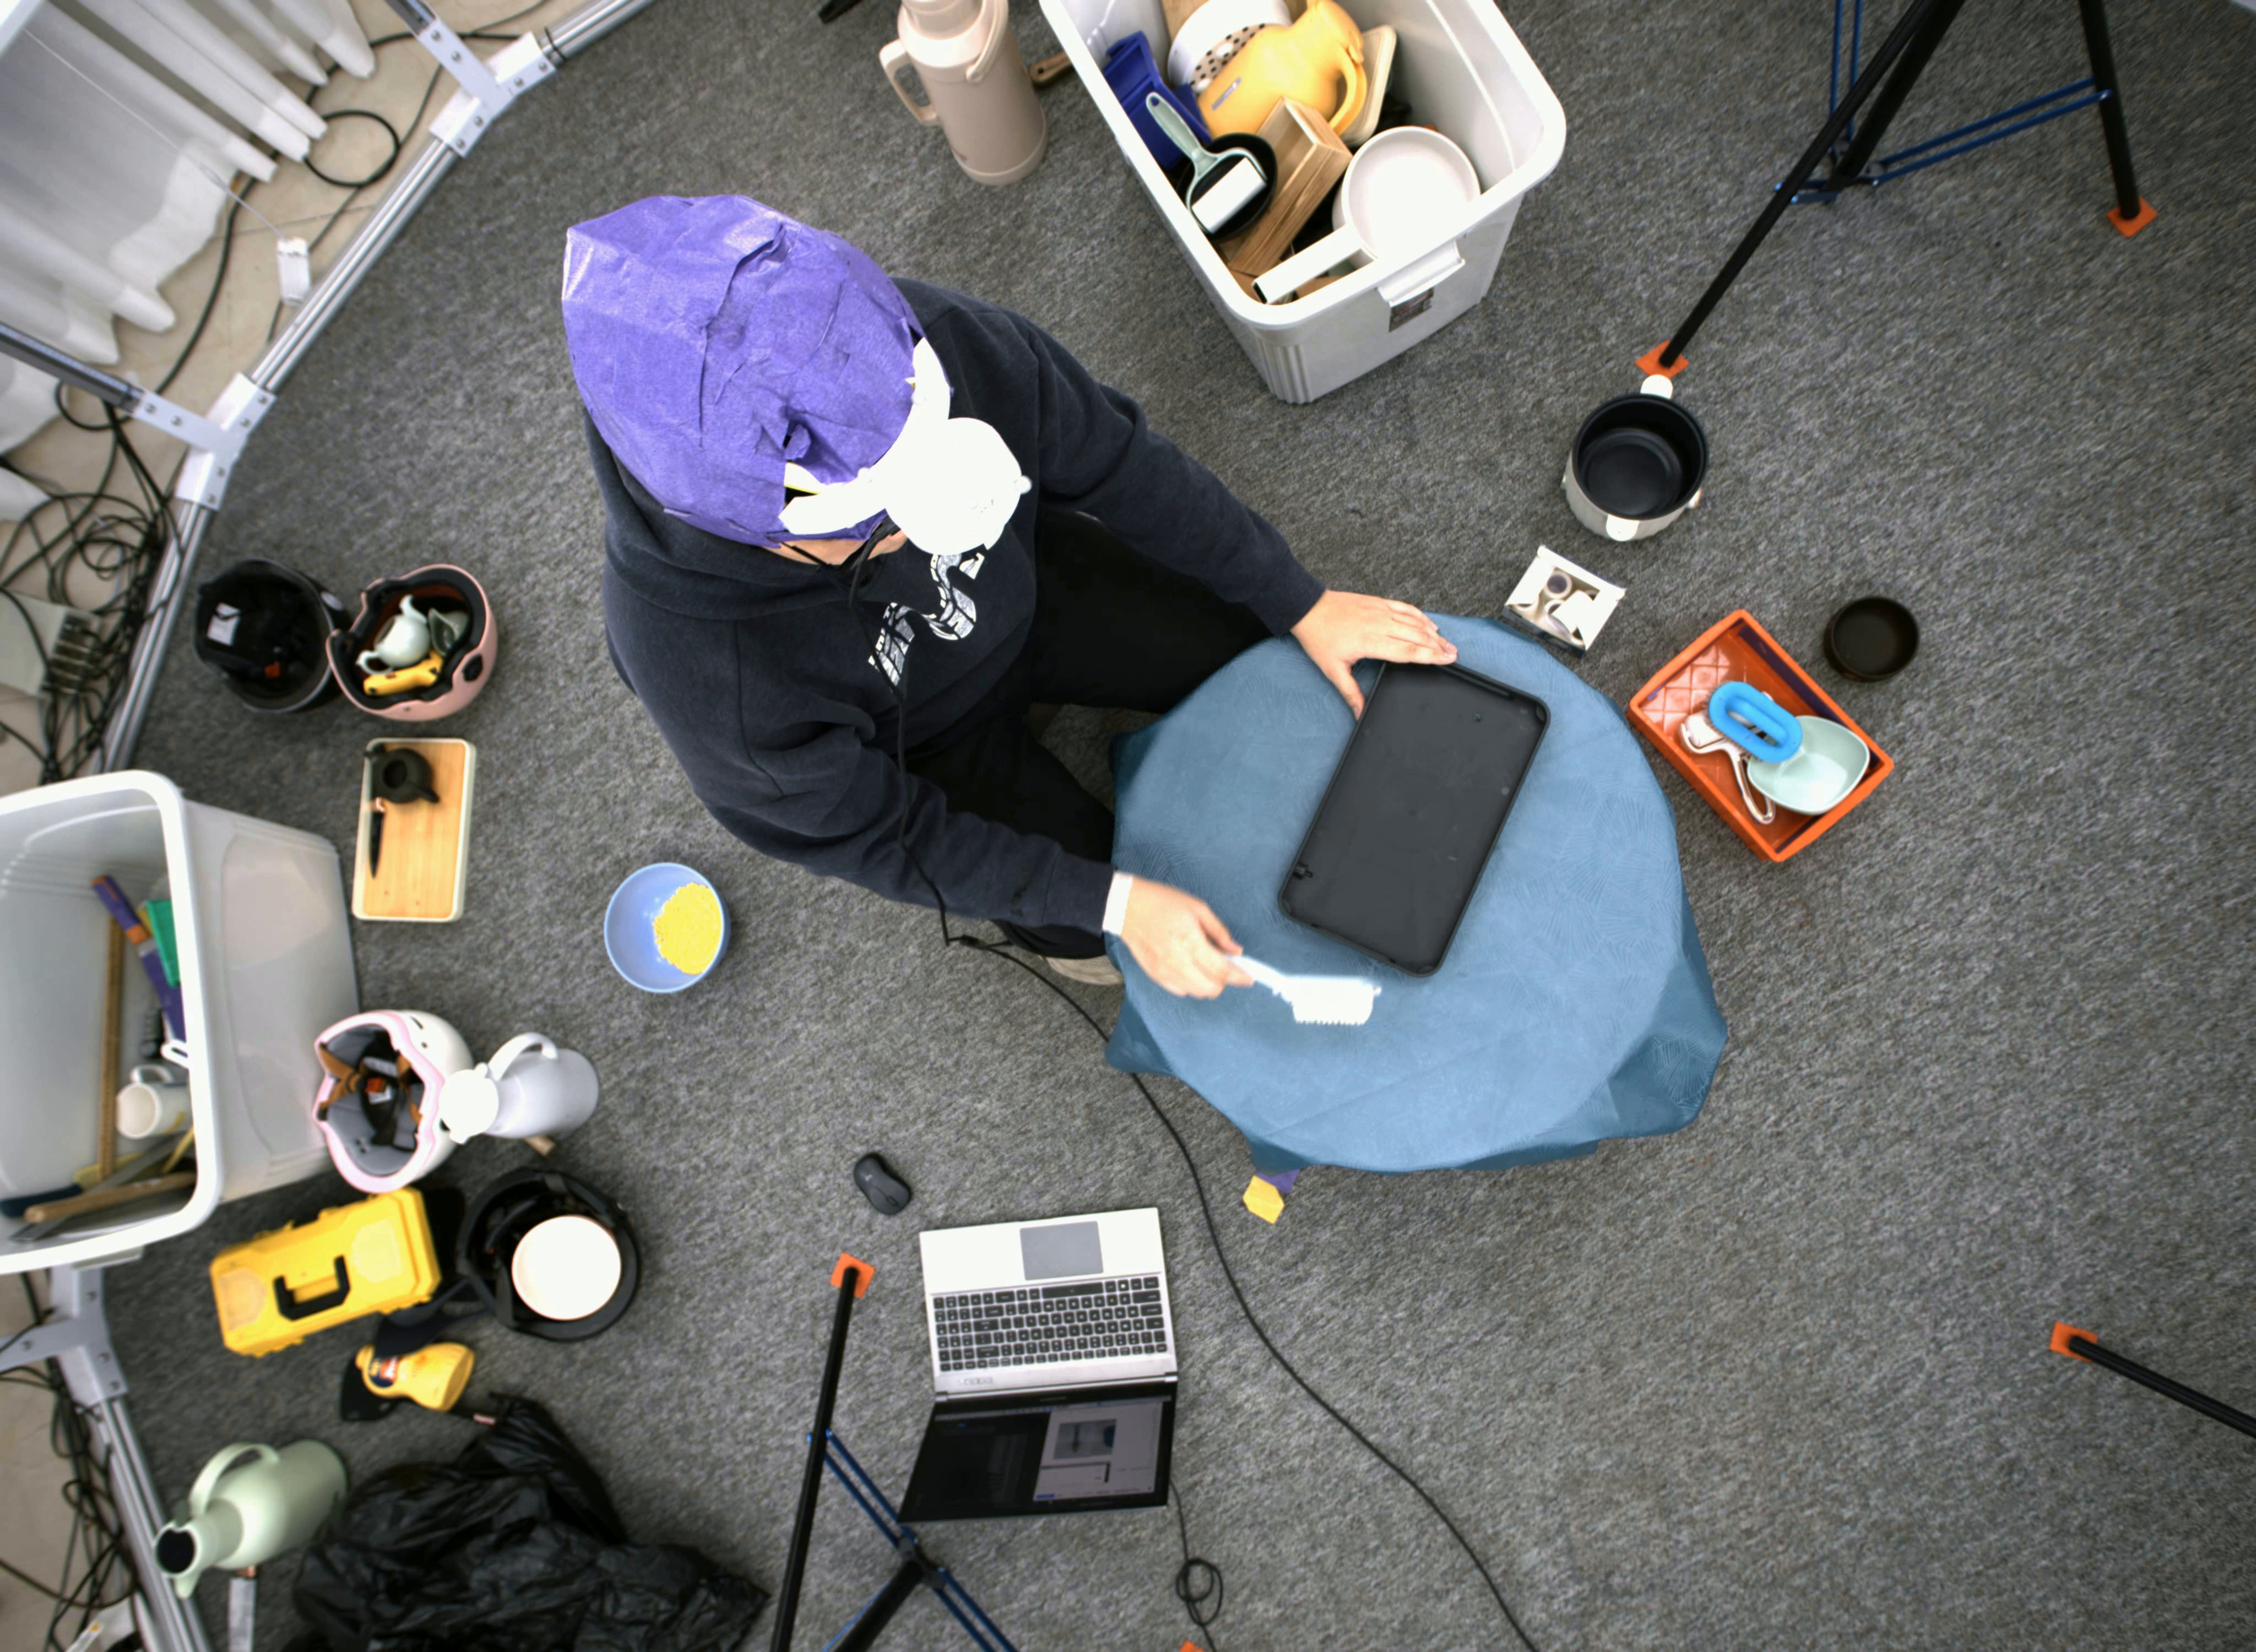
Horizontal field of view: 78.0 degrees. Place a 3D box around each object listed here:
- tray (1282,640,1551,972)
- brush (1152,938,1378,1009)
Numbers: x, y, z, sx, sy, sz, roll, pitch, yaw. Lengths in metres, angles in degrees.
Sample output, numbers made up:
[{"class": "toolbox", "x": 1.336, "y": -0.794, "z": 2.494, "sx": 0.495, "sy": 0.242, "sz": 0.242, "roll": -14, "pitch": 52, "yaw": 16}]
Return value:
[{"class": "tray", "x": 0.301, "y": -0.023, "z": 1.443, "sx": 0.184, "sy": 0.037, "sz": 0.318, "roll": 23, "pitch": 91, "yaw": 12}, {"class": "brush", "x": 0.134, "y": 0.146, "z": 1.383, "sx": 0.229, "sy": 0.037, "sz": 0.051, "roll": 9, "pitch": 126, "yaw": 17}]
